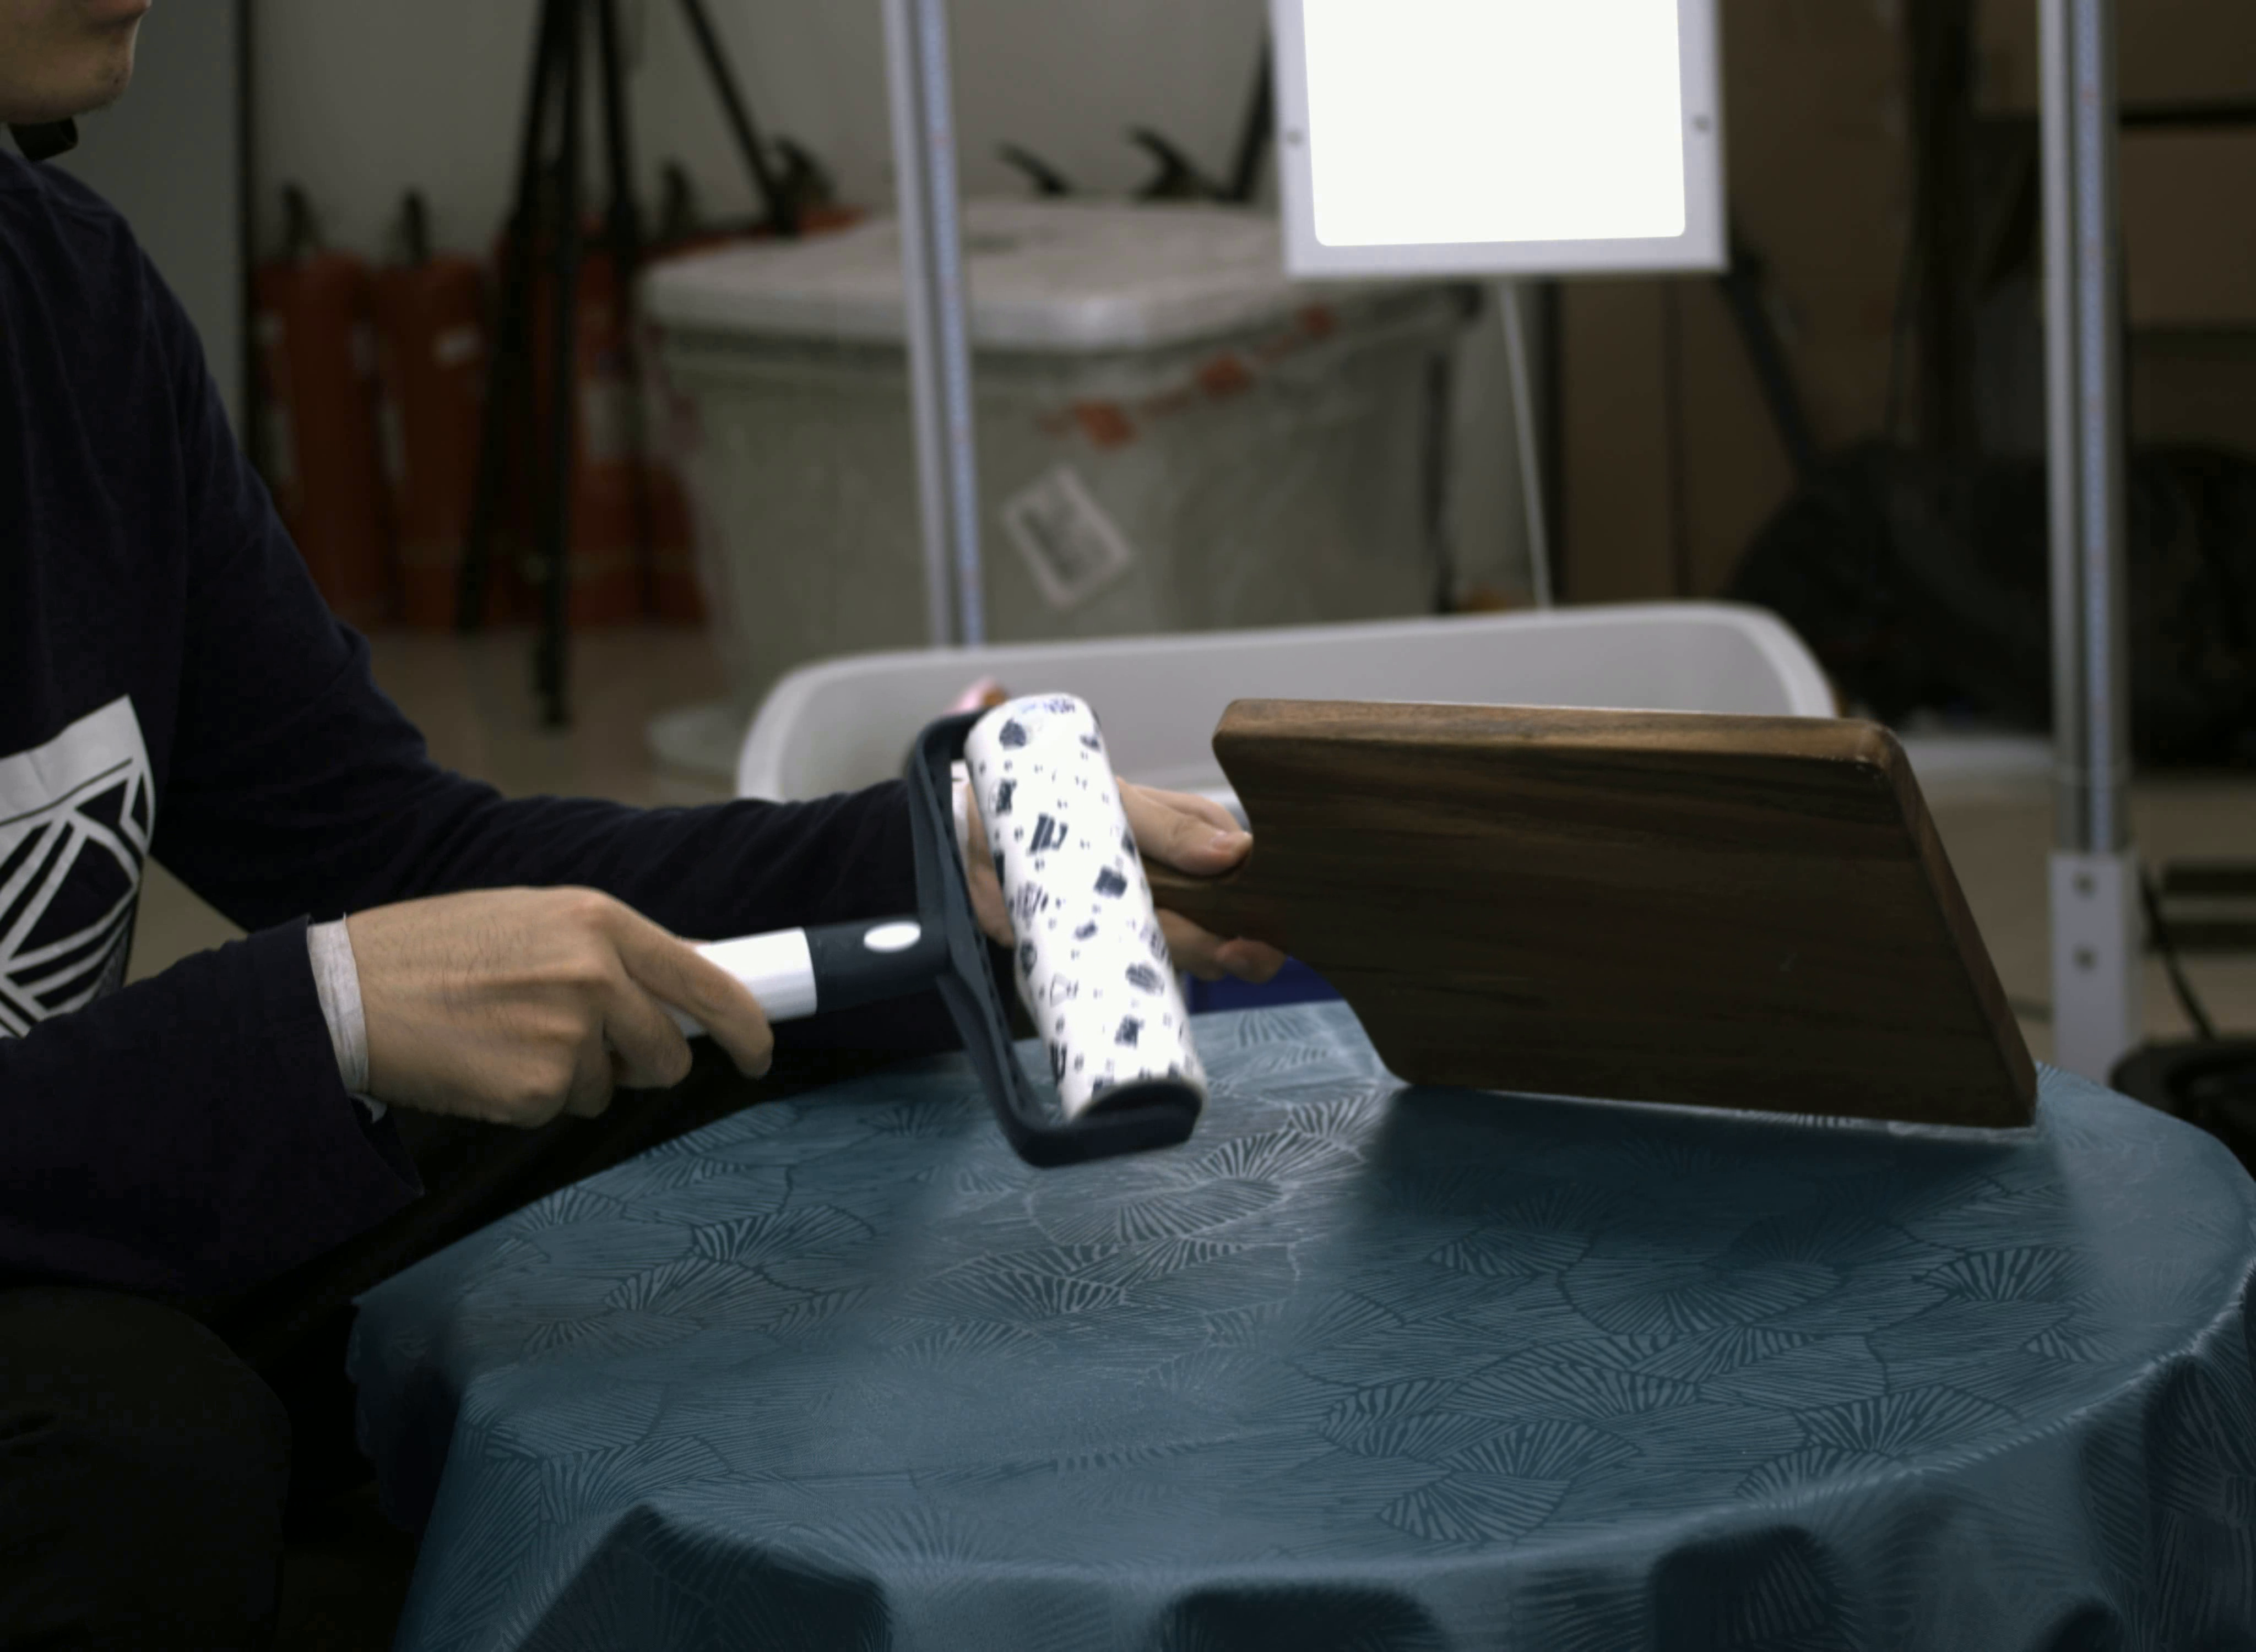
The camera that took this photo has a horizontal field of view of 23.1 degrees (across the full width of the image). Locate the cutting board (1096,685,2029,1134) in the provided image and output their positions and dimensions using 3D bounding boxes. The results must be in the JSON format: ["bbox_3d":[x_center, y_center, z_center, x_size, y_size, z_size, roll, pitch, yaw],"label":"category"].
[{"bbox_3d":[0.129,0.026,1.904,0.359,0.199,0.023,3,50,32],"label":"cutting board"}]

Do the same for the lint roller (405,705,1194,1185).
[{"bbox_3d":[-0.114,0.053,1.803,0.245,0.050,0.177,-10,55,-8],"label":"lint roller"}]
